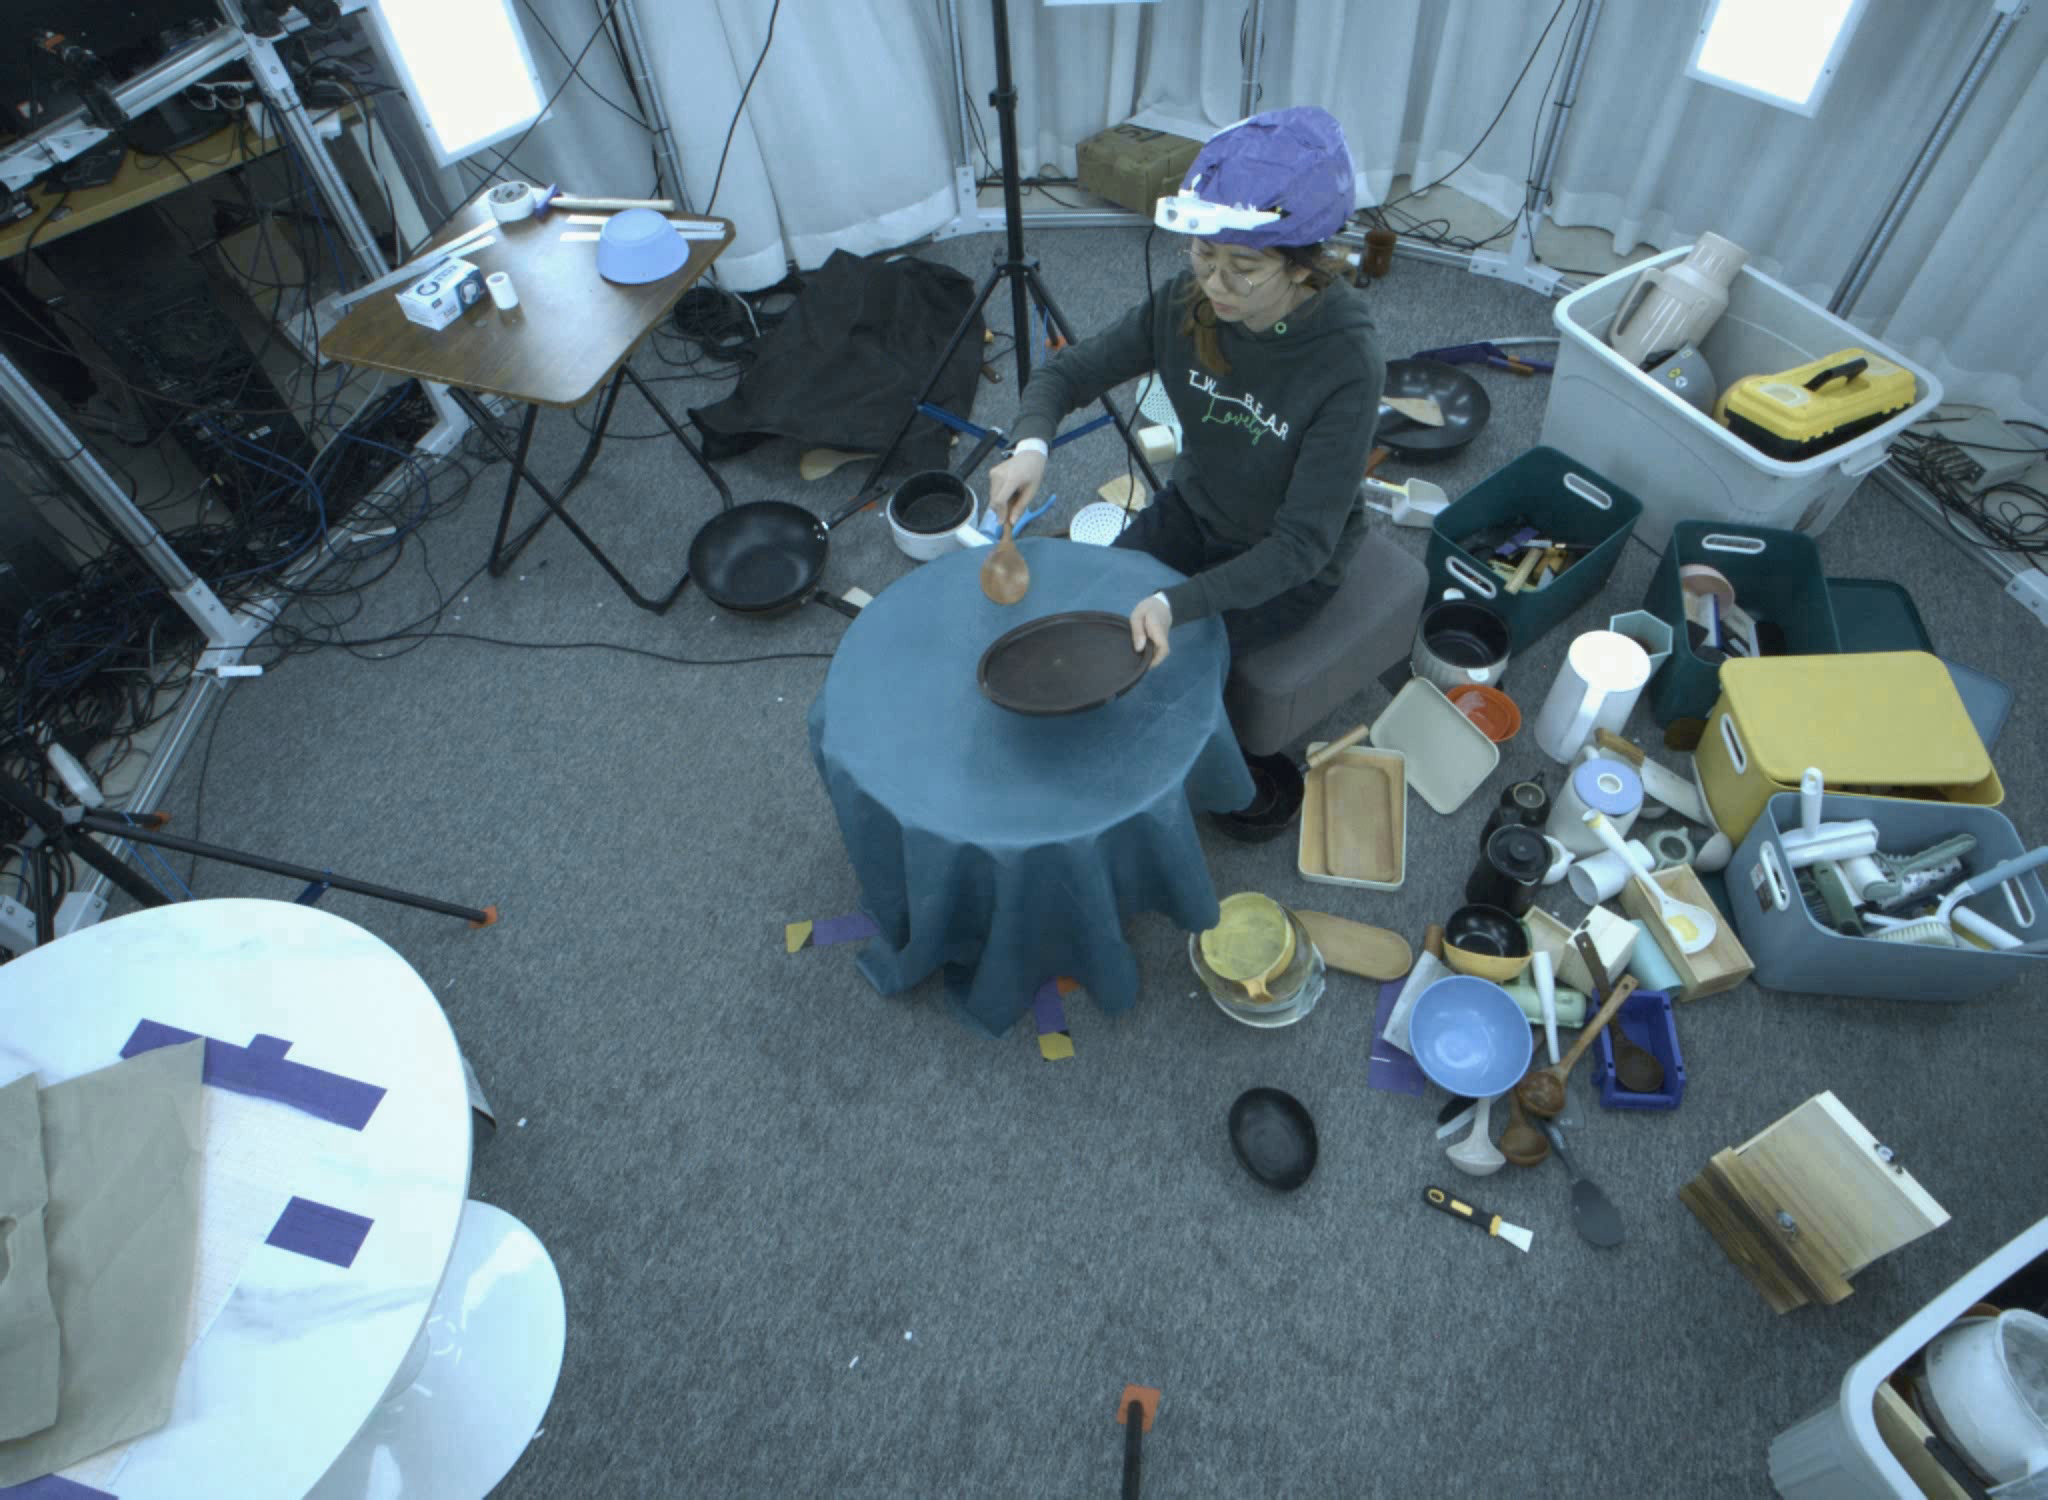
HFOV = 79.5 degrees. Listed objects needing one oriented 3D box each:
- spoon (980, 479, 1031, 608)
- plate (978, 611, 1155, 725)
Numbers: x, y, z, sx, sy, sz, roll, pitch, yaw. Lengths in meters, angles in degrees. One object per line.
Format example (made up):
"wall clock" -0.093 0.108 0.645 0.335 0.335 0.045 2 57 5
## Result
"spoon" -0.025 -0.308 1.821 0.076 0.017 0.214 5 72 -8
"plate" 0.060 -0.115 1.745 0.254 0.029 0.252 -7 39 7
